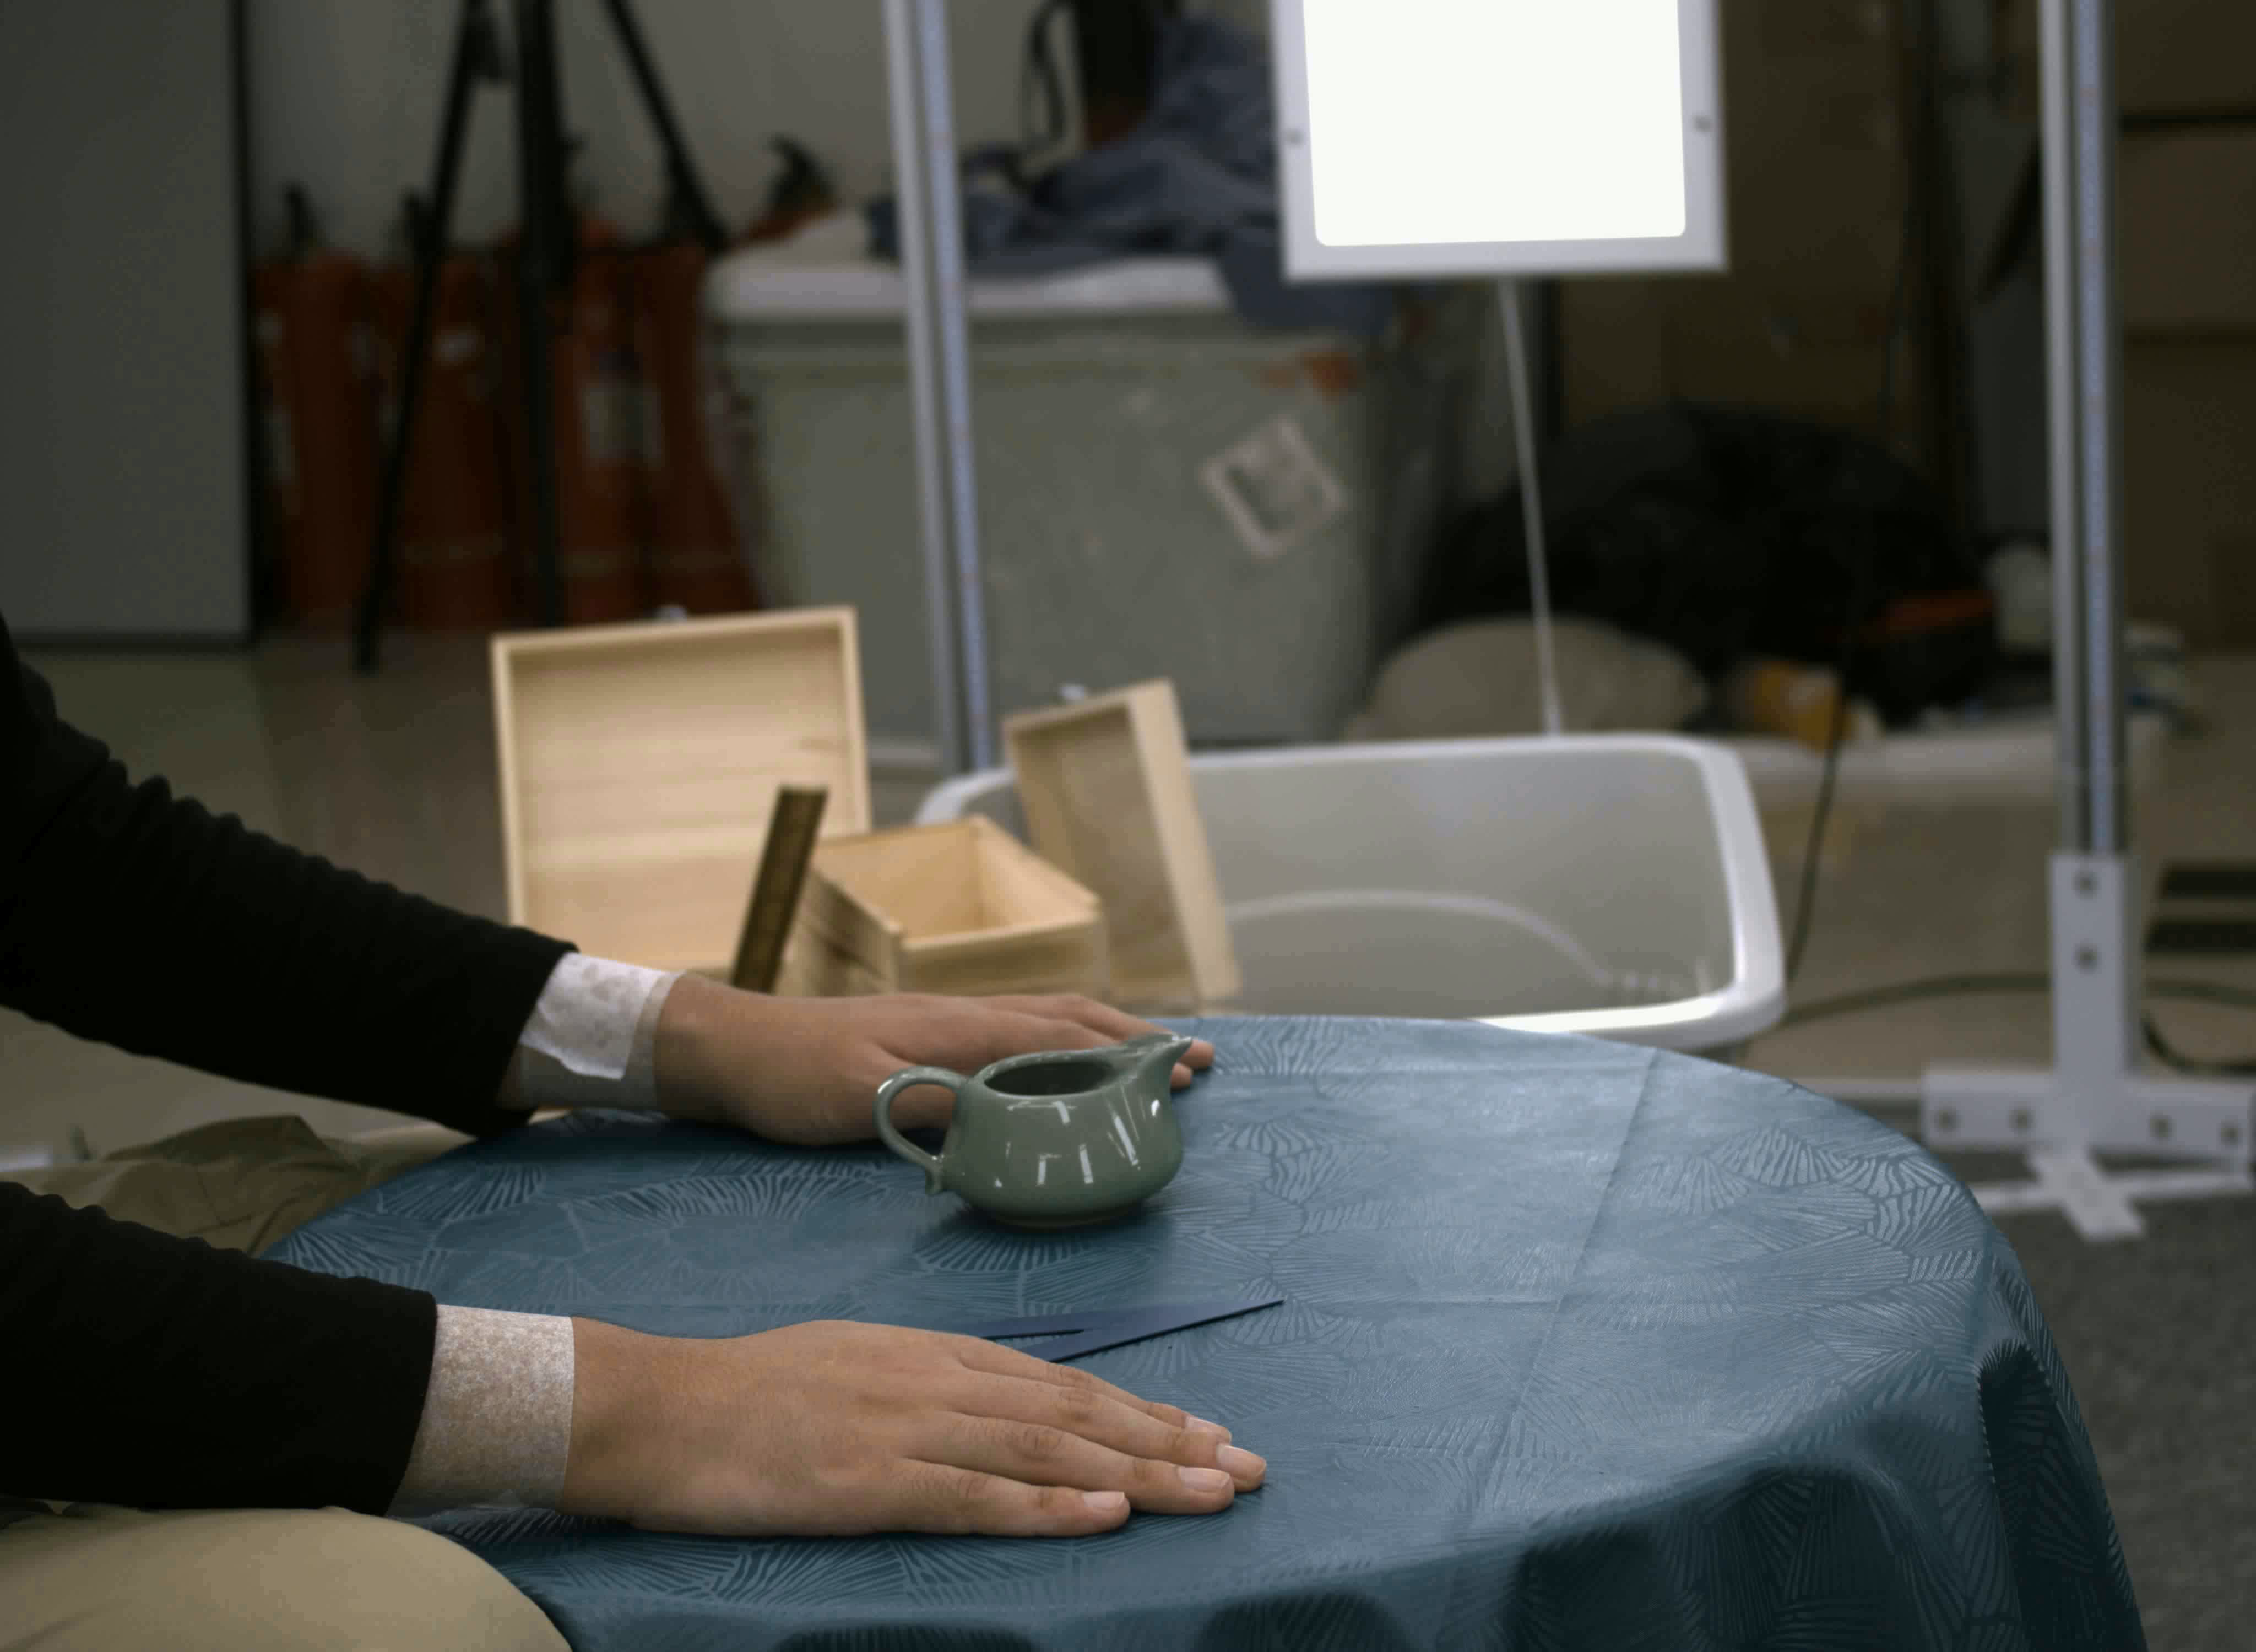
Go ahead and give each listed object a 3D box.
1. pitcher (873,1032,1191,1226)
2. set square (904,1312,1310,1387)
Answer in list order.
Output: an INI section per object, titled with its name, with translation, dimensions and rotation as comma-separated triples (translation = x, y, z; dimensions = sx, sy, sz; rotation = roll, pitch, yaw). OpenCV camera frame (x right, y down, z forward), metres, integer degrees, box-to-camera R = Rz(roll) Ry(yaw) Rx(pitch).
[pitcher]
translation = -0.030, 0.104, 1.884
dimensions = 0.111, 0.056, 0.085
rotation = -7, 12, -9
[set square]
translation = -0.008, 0.164, 1.739
dimensions = 0.132, 0.006, 0.061
rotation = -3, 13, 6
